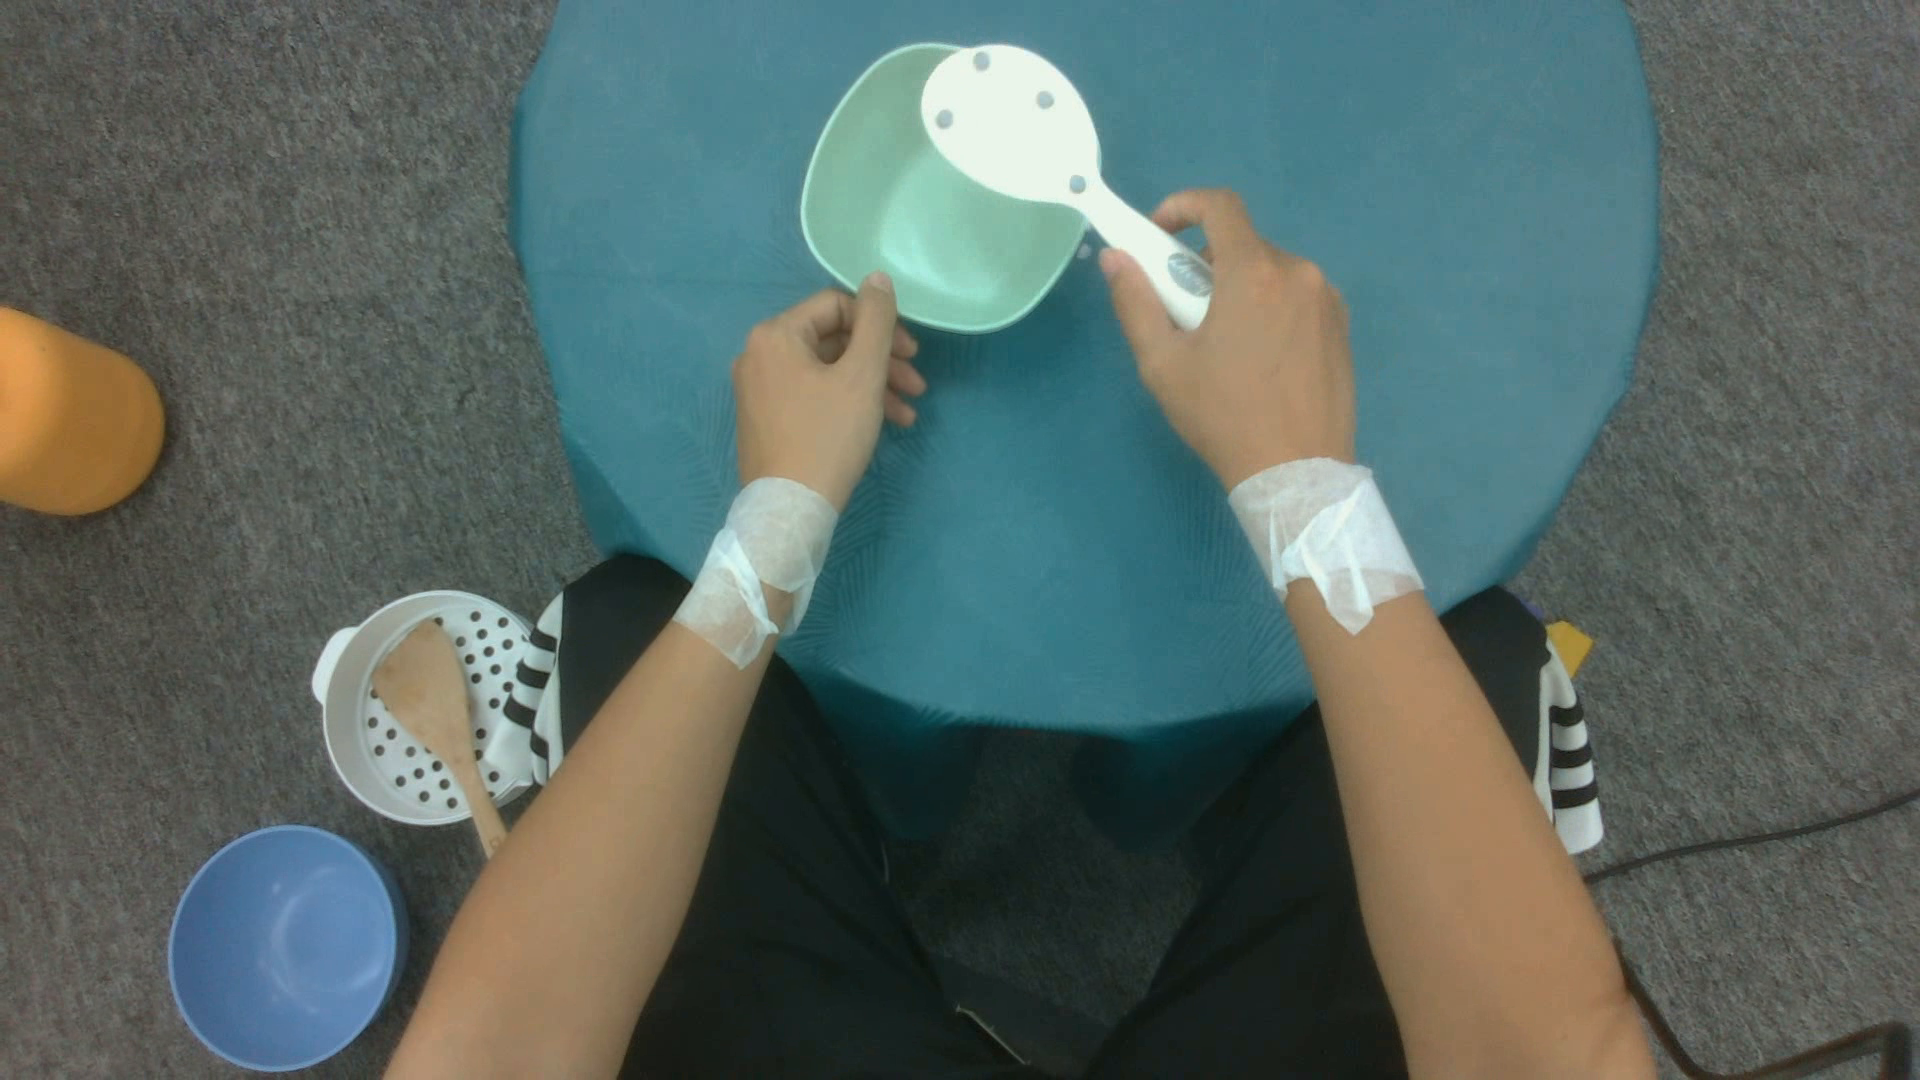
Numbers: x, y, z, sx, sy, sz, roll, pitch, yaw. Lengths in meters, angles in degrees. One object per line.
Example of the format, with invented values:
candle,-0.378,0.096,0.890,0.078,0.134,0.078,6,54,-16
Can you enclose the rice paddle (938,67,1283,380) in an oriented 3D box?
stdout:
rice paddle,0.066,-0.154,0.641,0.069,0.029,0.205,-39,73,-13

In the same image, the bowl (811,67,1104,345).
bowl,0.000,-0.164,0.714,0.151,0.058,0.151,0,79,2
